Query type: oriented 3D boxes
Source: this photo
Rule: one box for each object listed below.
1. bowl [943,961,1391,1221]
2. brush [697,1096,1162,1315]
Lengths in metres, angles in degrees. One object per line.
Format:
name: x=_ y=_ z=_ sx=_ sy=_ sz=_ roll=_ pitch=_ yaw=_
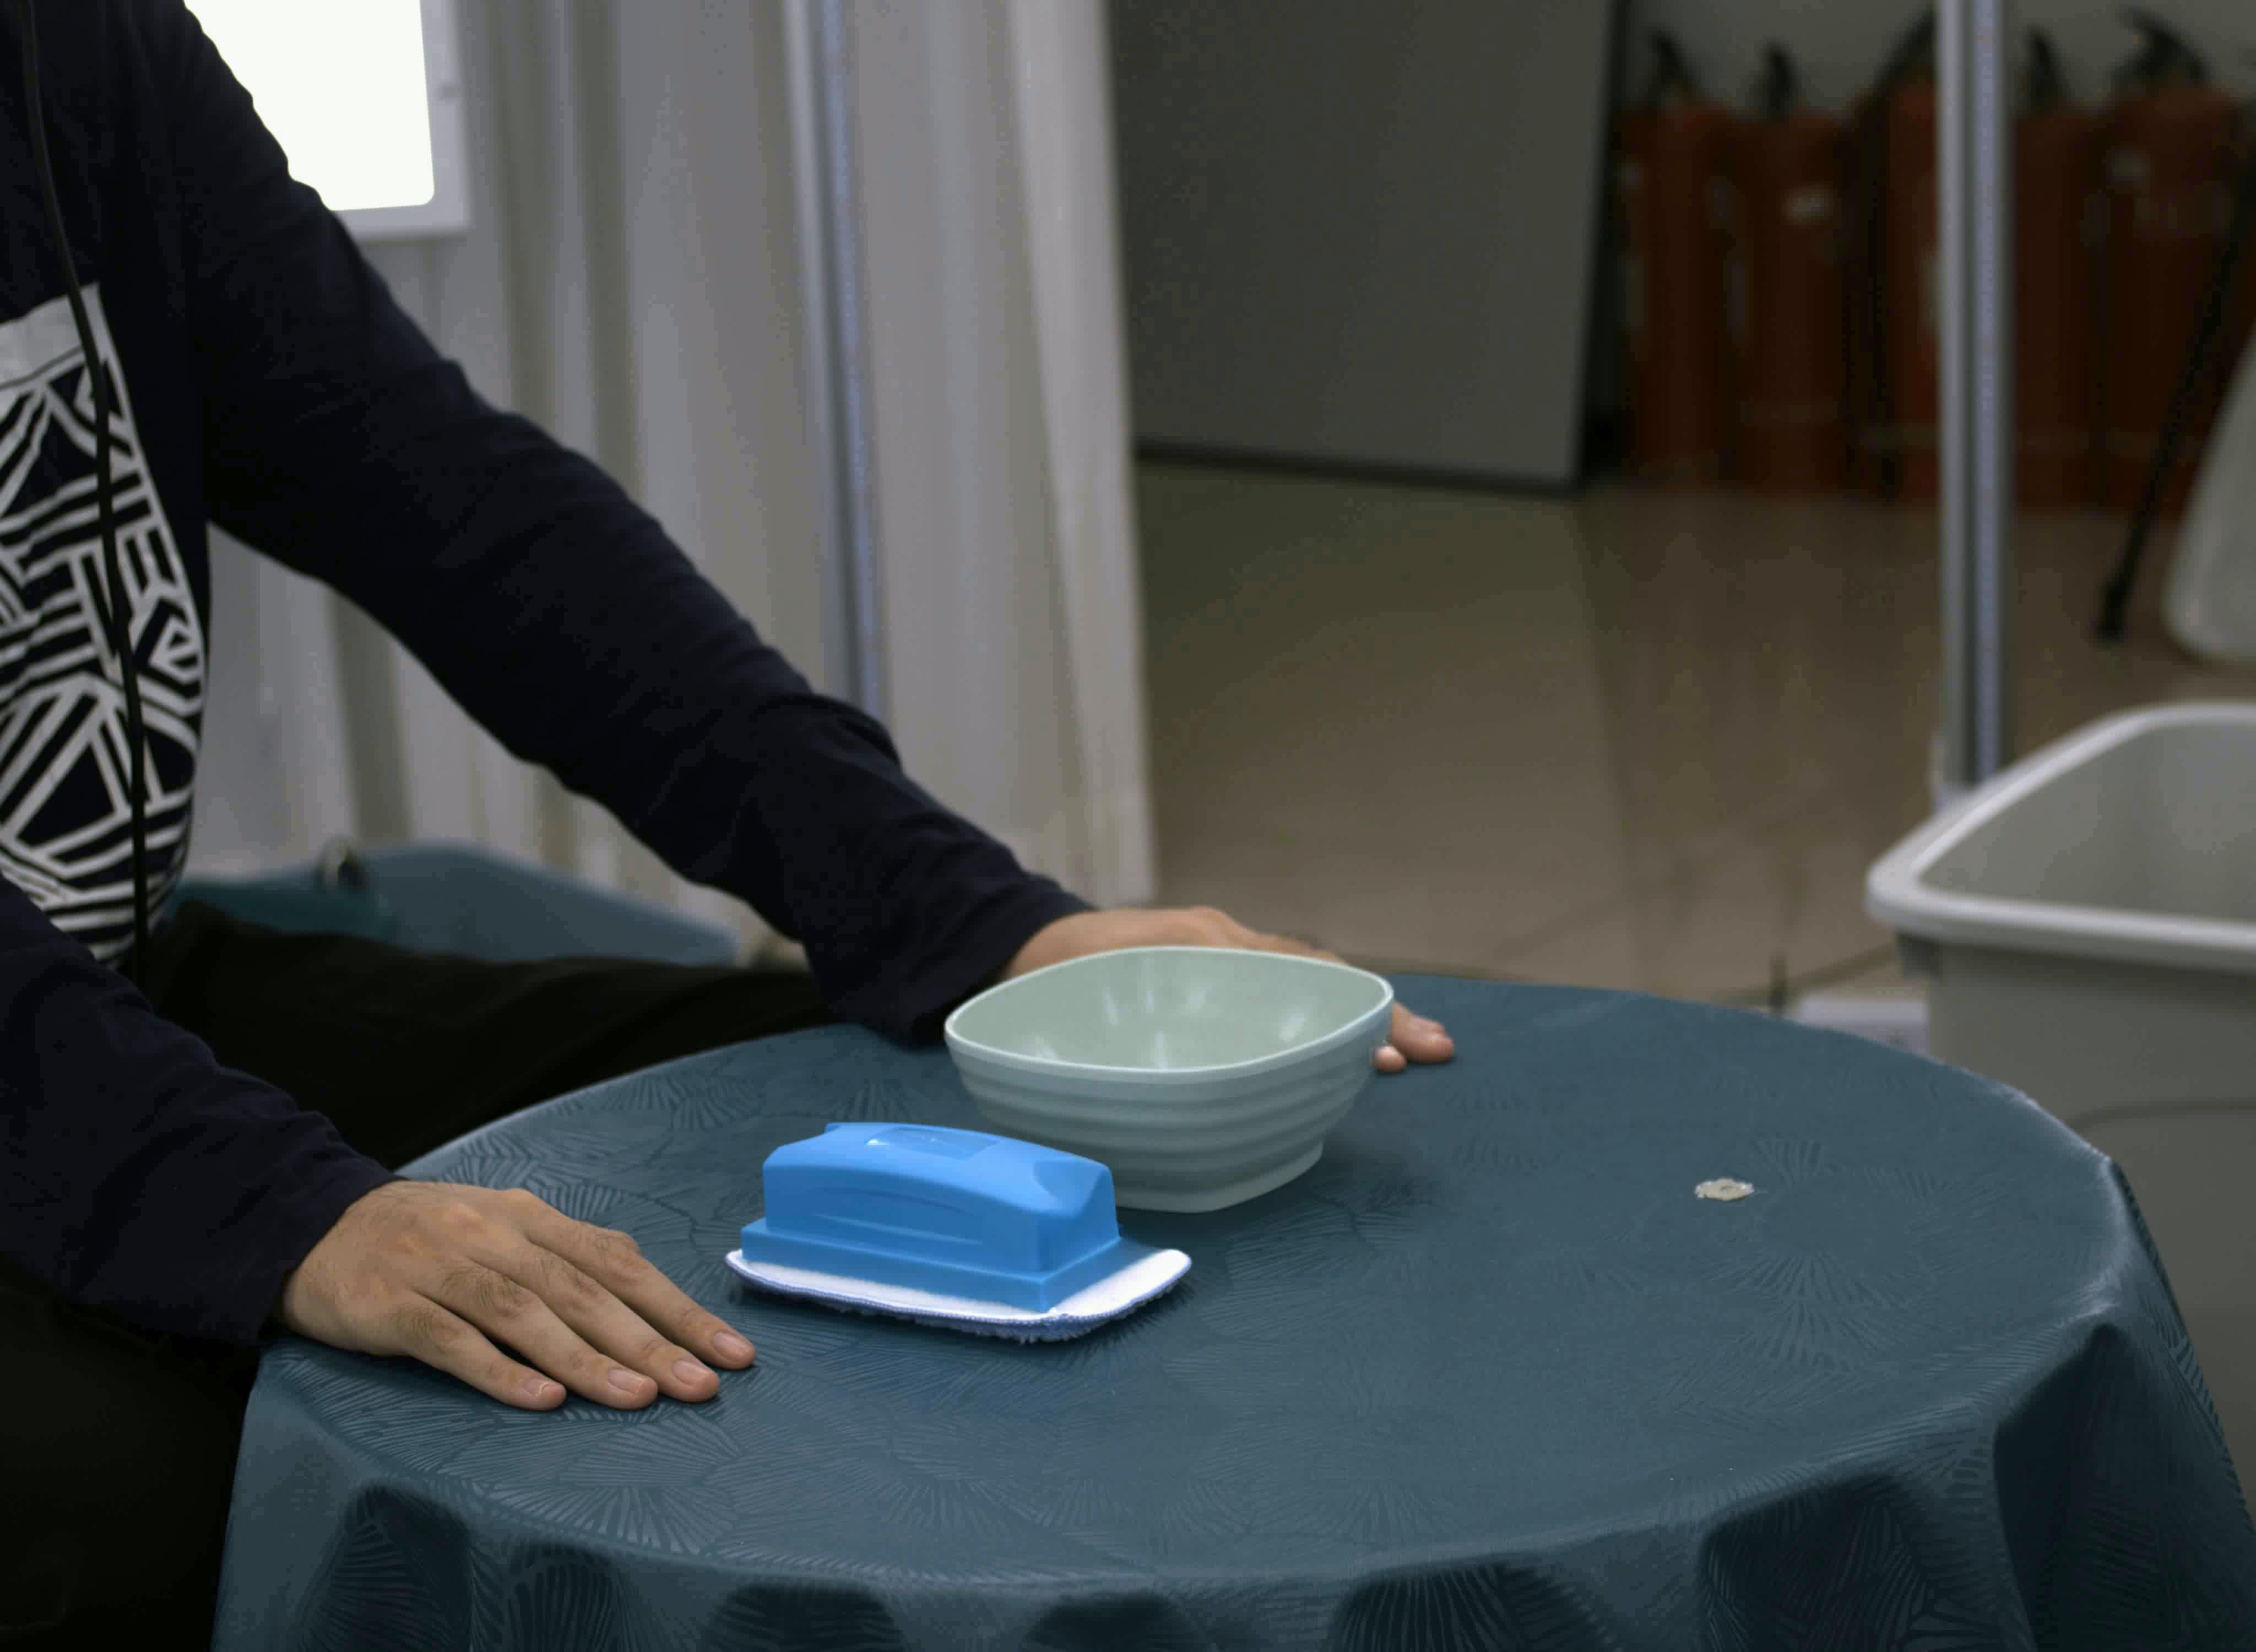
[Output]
bowl: x=0.014 y=0.090 z=1.786 sx=0.149 sy=0.059 sz=0.151 roll=-3 pitch=12 yaw=0
brush: x=-0.062 y=0.117 z=1.684 sx=0.145 sy=0.056 sz=0.082 roll=8 pitch=14 yaw=38
